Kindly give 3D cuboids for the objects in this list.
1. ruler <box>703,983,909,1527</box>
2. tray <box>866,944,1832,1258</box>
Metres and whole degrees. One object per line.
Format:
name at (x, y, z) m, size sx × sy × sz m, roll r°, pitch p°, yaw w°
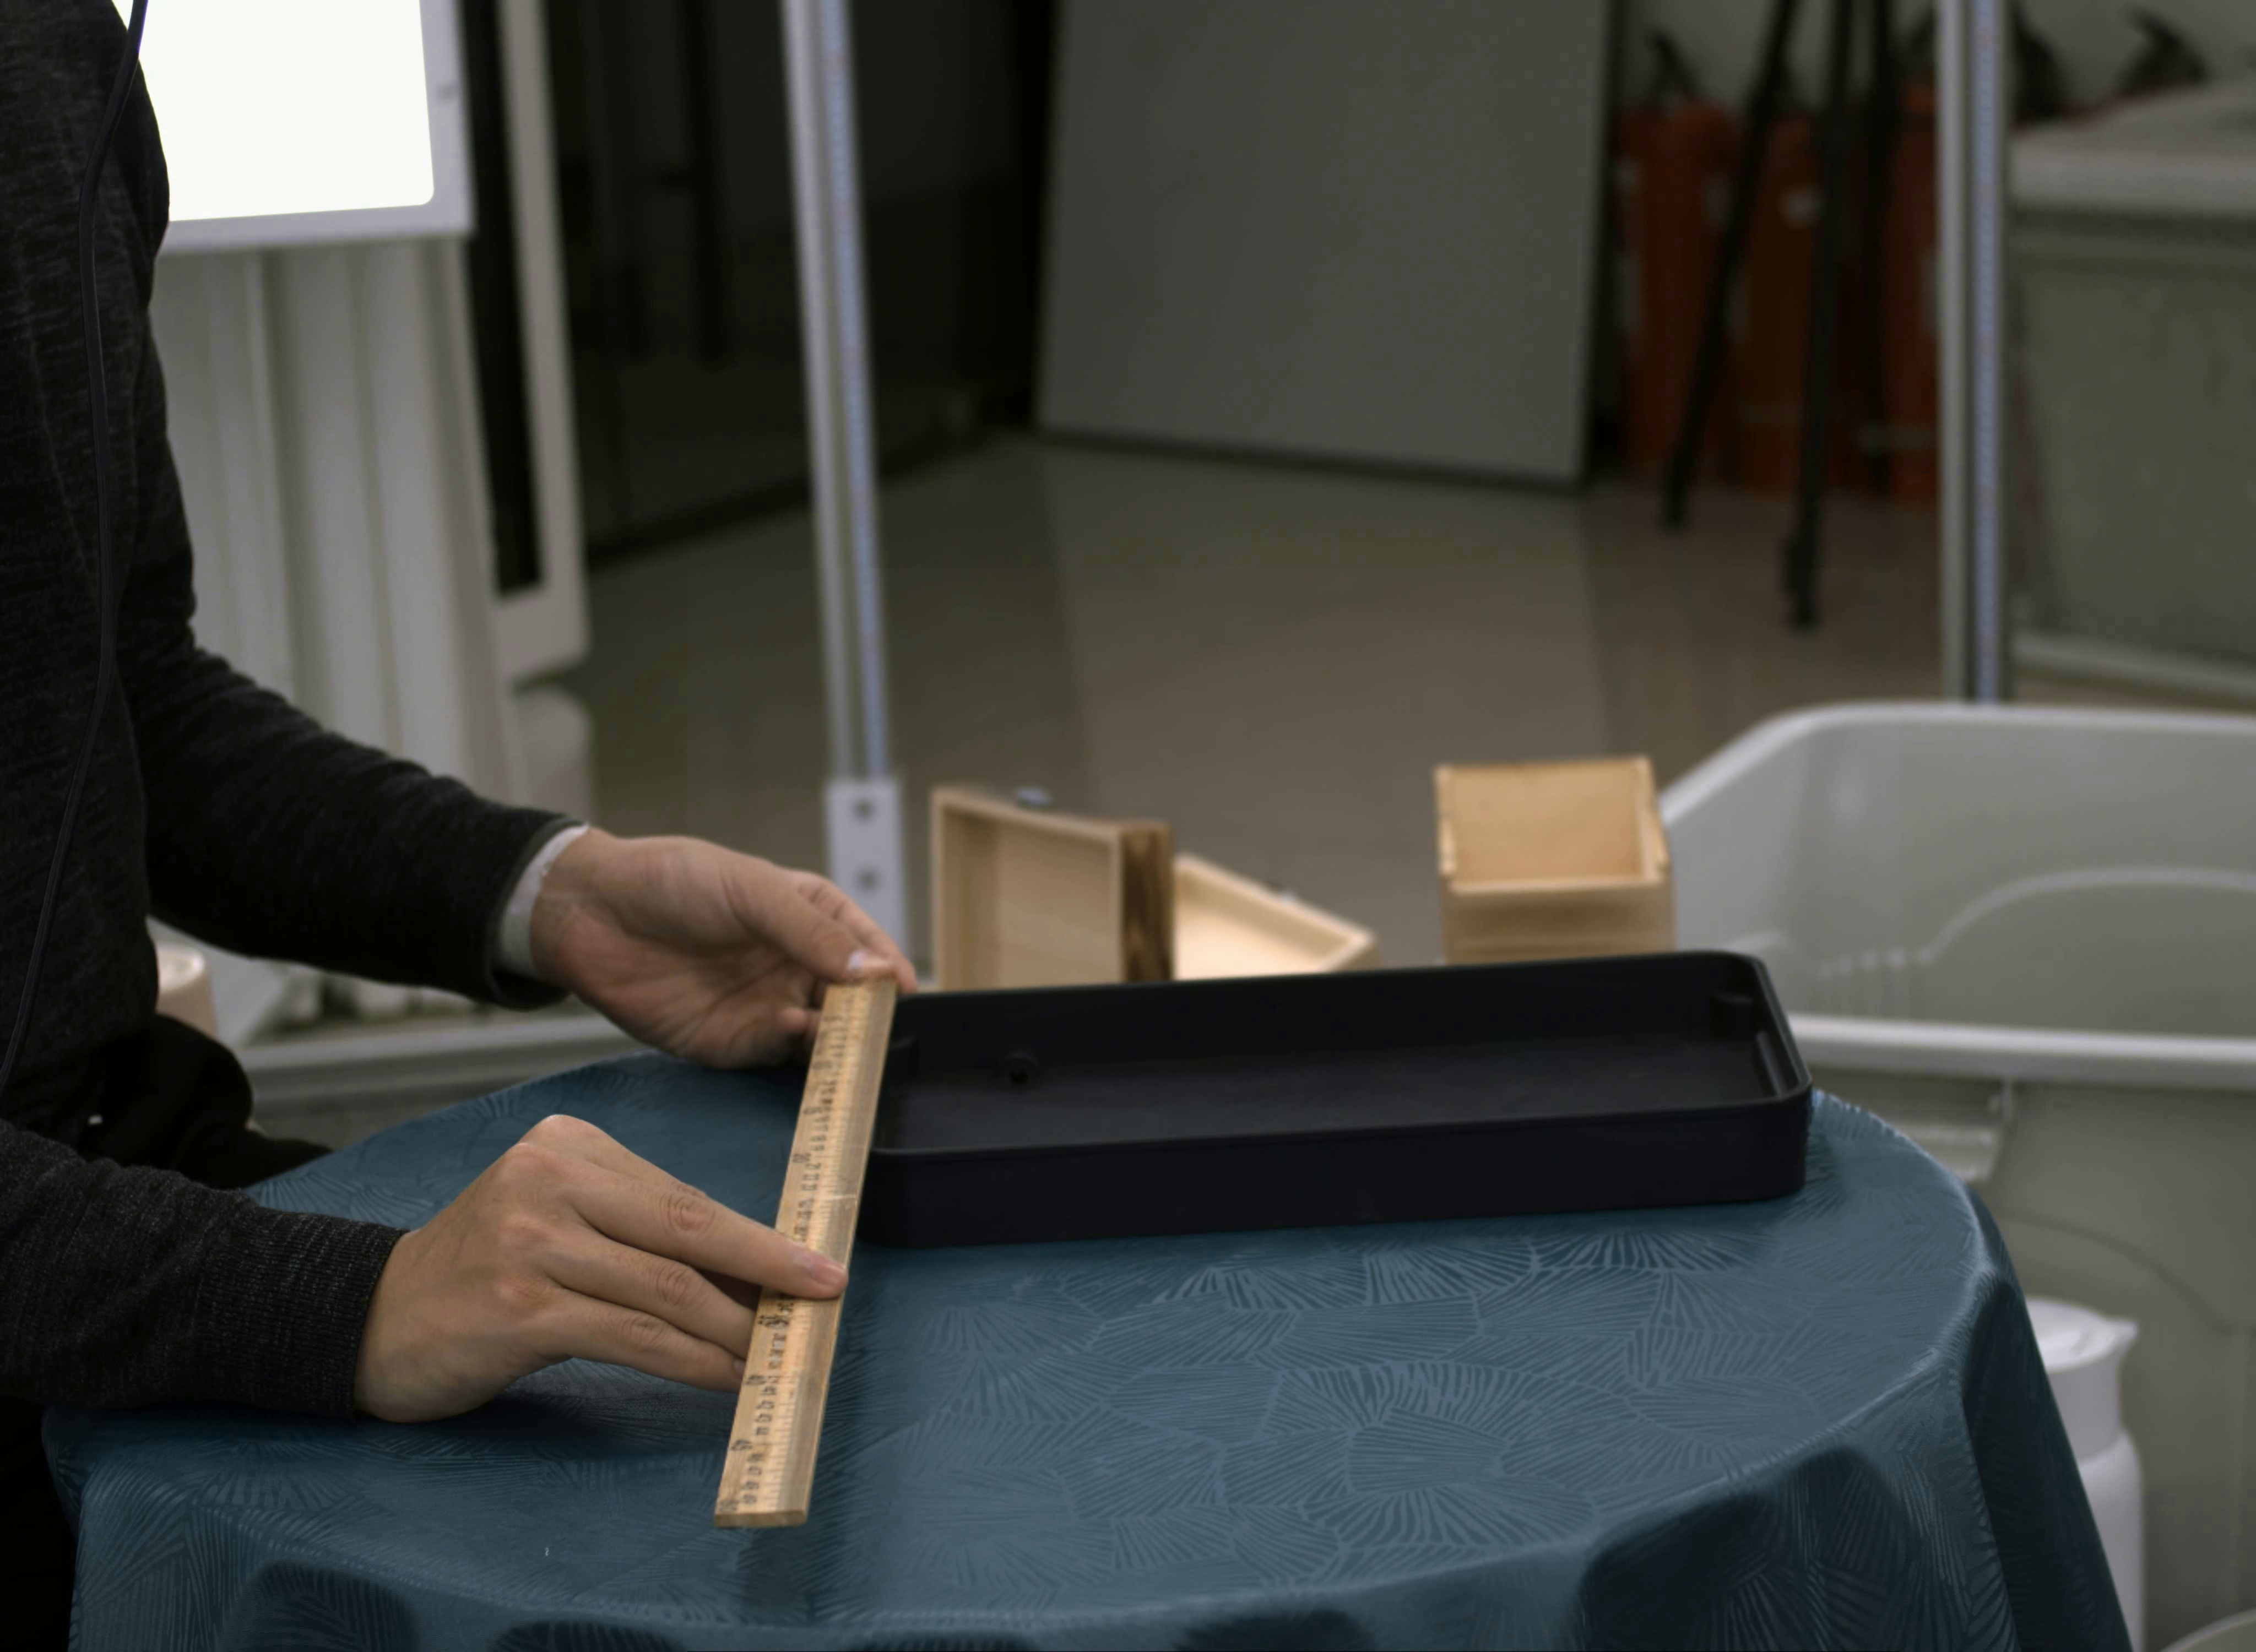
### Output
ruler at (-0.094, 0.119, 1.655) m, size 0.026 × 0.006 × 0.500 m, roll -6°, pitch 14°, yaw 3°
tray at (0.070, 0.090, 1.802) m, size 0.314 × 0.037 × 0.184 m, roll -5°, pitch 13°, yaw 1°
